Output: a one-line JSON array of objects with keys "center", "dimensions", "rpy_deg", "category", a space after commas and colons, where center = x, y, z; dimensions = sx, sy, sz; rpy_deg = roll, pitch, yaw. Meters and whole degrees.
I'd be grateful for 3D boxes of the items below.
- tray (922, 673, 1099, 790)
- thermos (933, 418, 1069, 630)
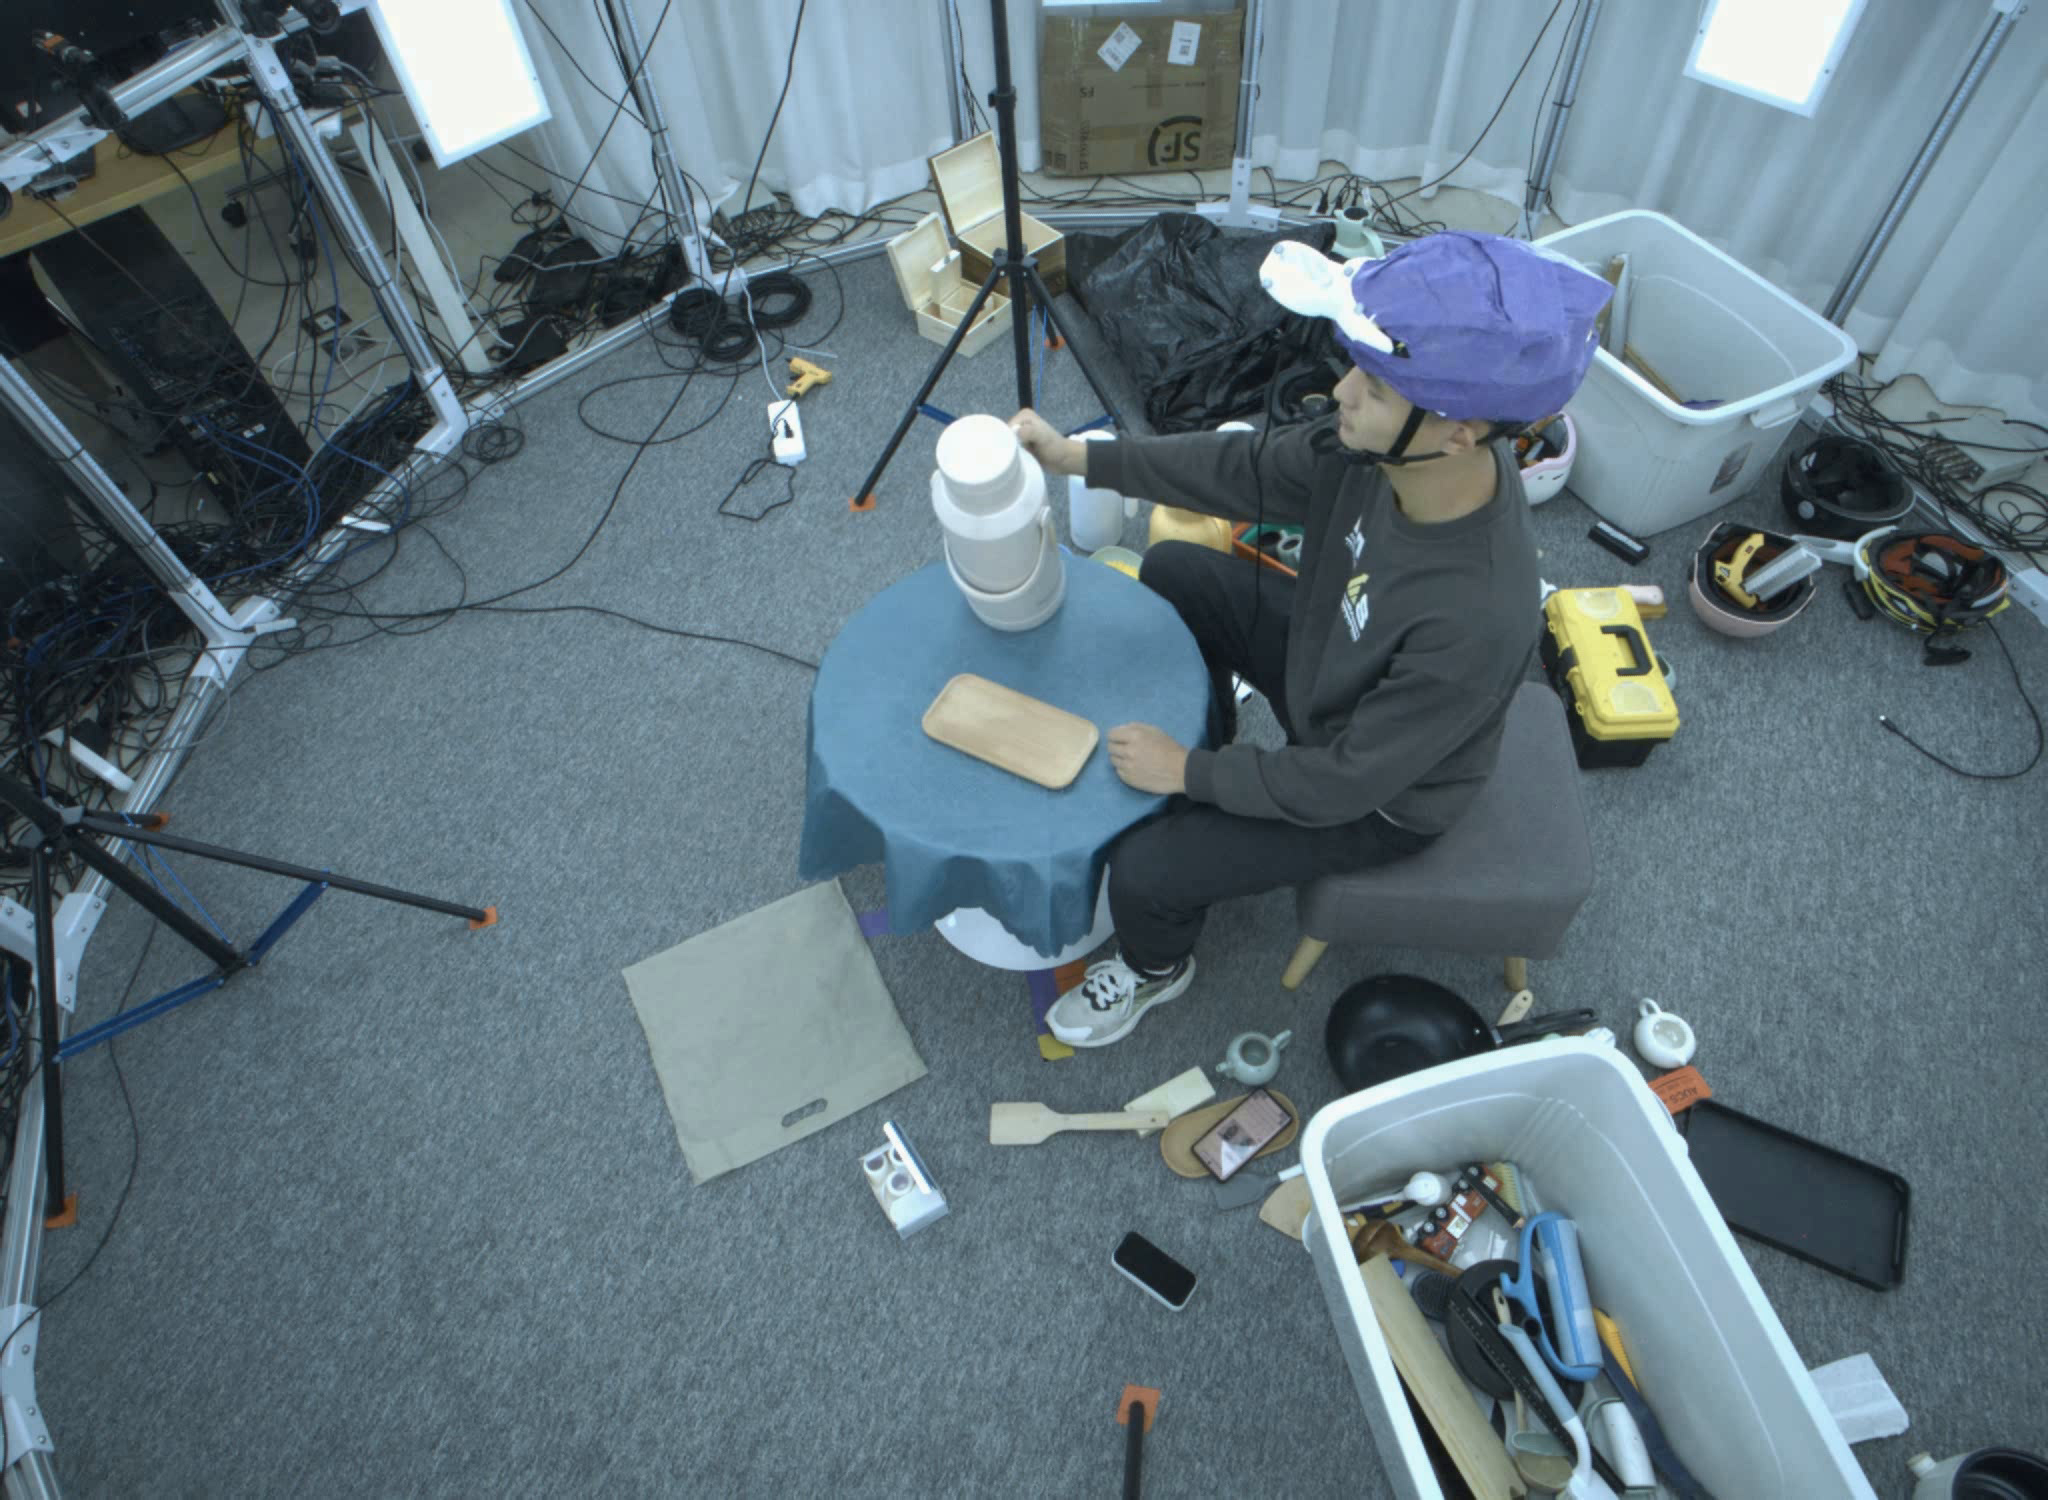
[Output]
[{"center": [-0.020, -0.029, 1.796], "dimensions": [0.247, 0.023, 0.131], "rpy_deg": [24, 61, 17], "category": "tray"}, {"center": [-0.028, -0.335, 1.754], "dimensions": [0.173, 0.411, 0.207], "rpy_deg": [20, 76, 15], "category": "thermos"}]
